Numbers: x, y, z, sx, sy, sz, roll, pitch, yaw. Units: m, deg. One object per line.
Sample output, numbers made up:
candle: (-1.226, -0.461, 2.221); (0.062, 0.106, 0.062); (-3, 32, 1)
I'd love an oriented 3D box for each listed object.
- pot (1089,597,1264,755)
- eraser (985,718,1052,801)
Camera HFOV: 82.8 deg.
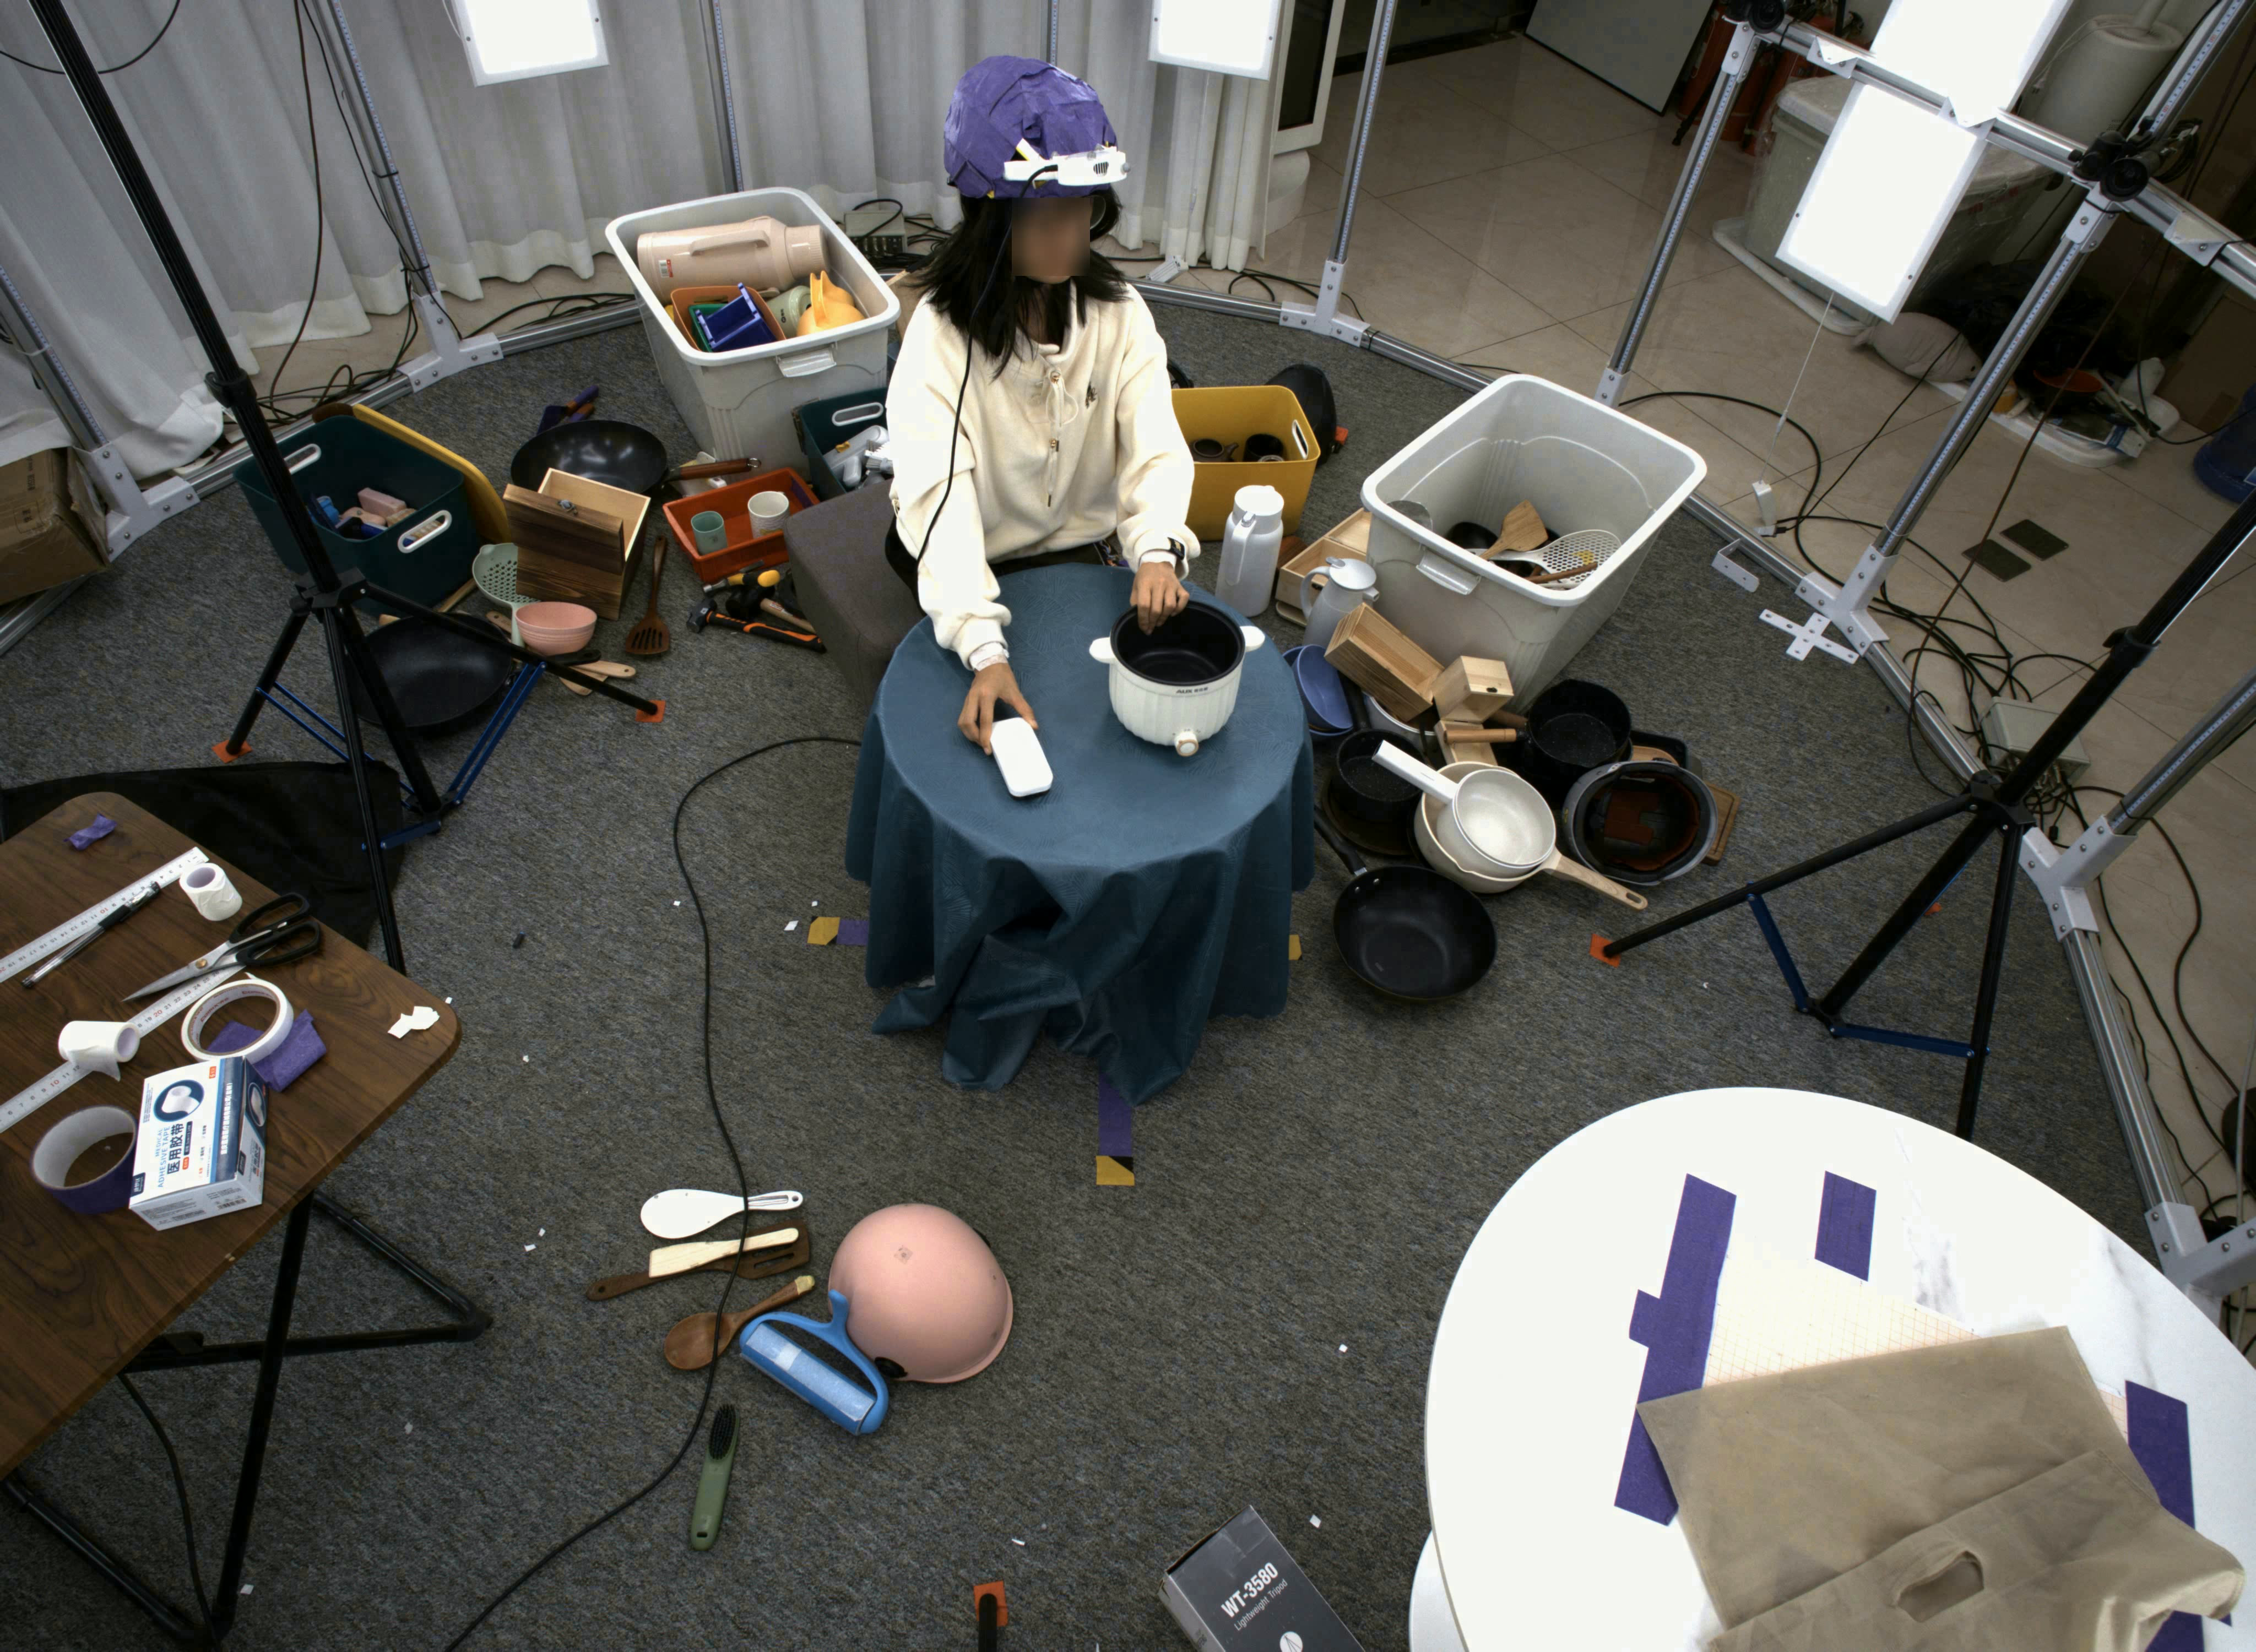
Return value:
pot: (0.065, -0.202, 1.756); (0.240, 0.139, 0.195); (-7, 44, -9)
eraser: (-0.146, -0.093, 1.721); (0.063, 0.034, 0.134); (-12, 51, -17)
